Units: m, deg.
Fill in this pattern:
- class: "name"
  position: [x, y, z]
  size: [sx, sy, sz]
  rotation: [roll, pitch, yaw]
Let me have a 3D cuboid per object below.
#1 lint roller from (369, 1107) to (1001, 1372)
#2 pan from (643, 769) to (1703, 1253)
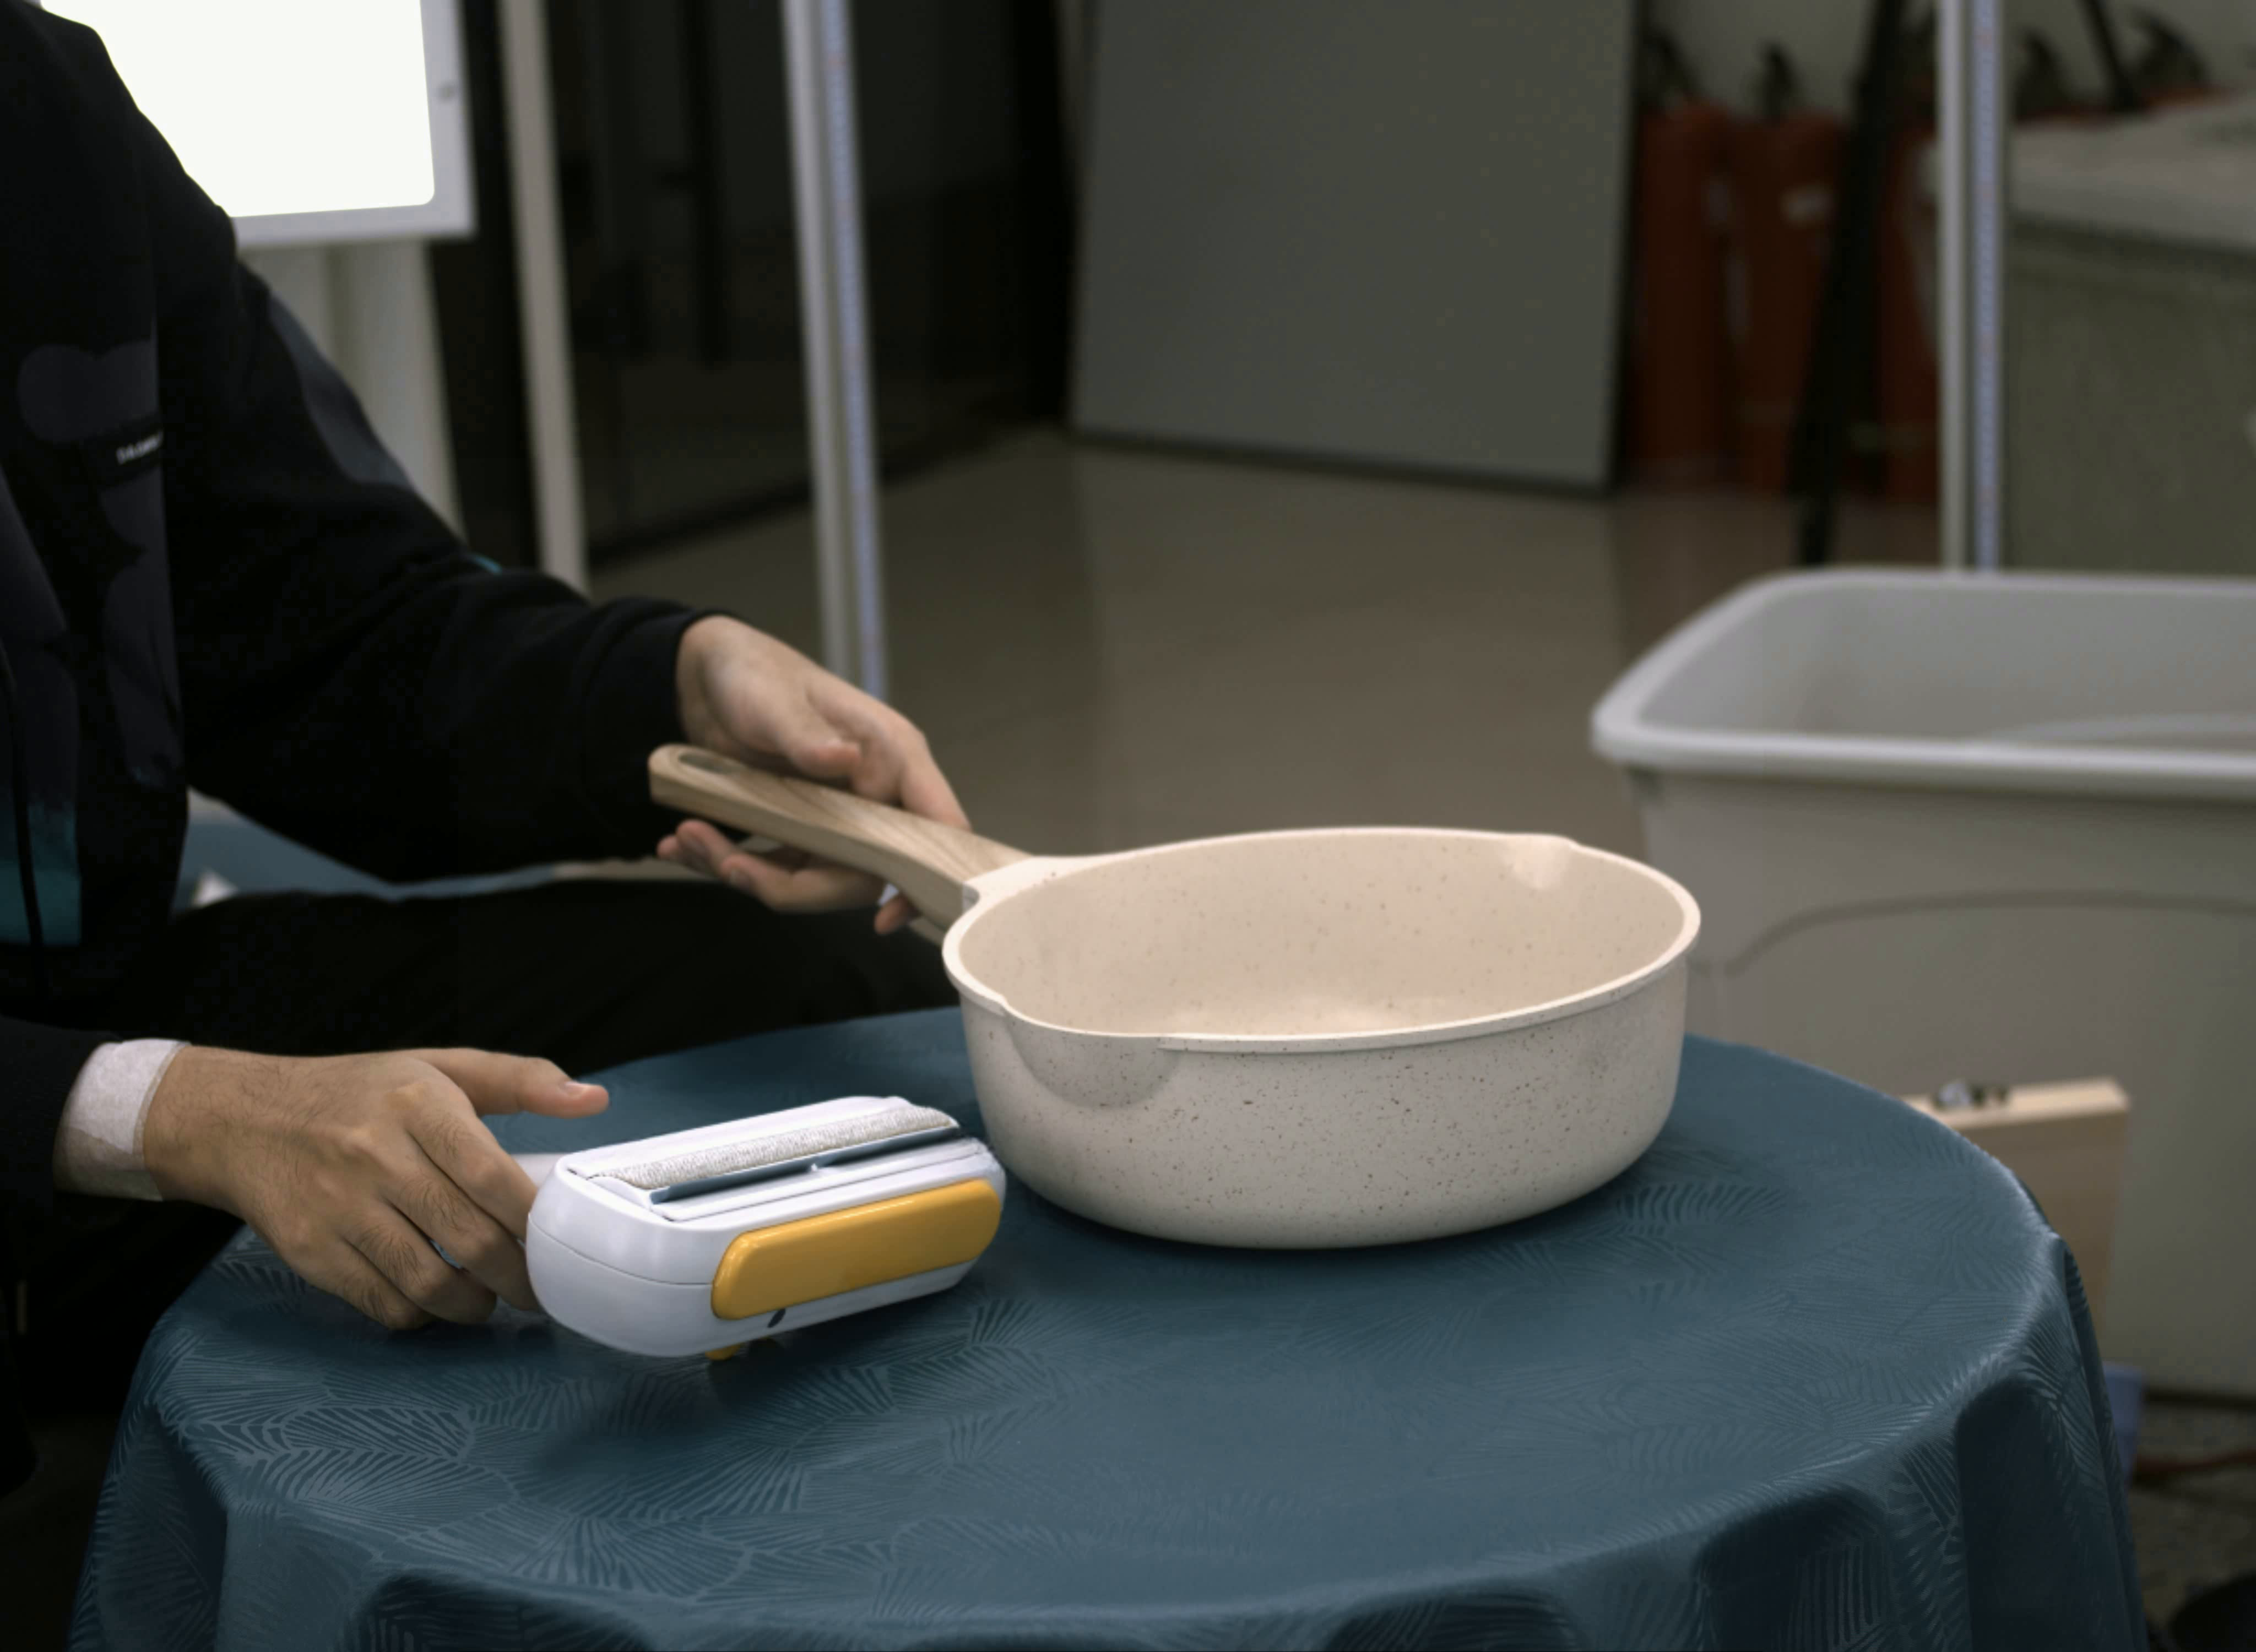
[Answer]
- class: "lint roller"
  position: [-0.158, 0.117, 1.667]
  size: [0.194, 0.075, 0.189]
  rotation: [13, 15, 36]
- class: "pan"
  position: [-0.002, 0.052, 1.841]
  size: [0.438, 0.103, 0.258]
  rotation: [8, 21, 41]
